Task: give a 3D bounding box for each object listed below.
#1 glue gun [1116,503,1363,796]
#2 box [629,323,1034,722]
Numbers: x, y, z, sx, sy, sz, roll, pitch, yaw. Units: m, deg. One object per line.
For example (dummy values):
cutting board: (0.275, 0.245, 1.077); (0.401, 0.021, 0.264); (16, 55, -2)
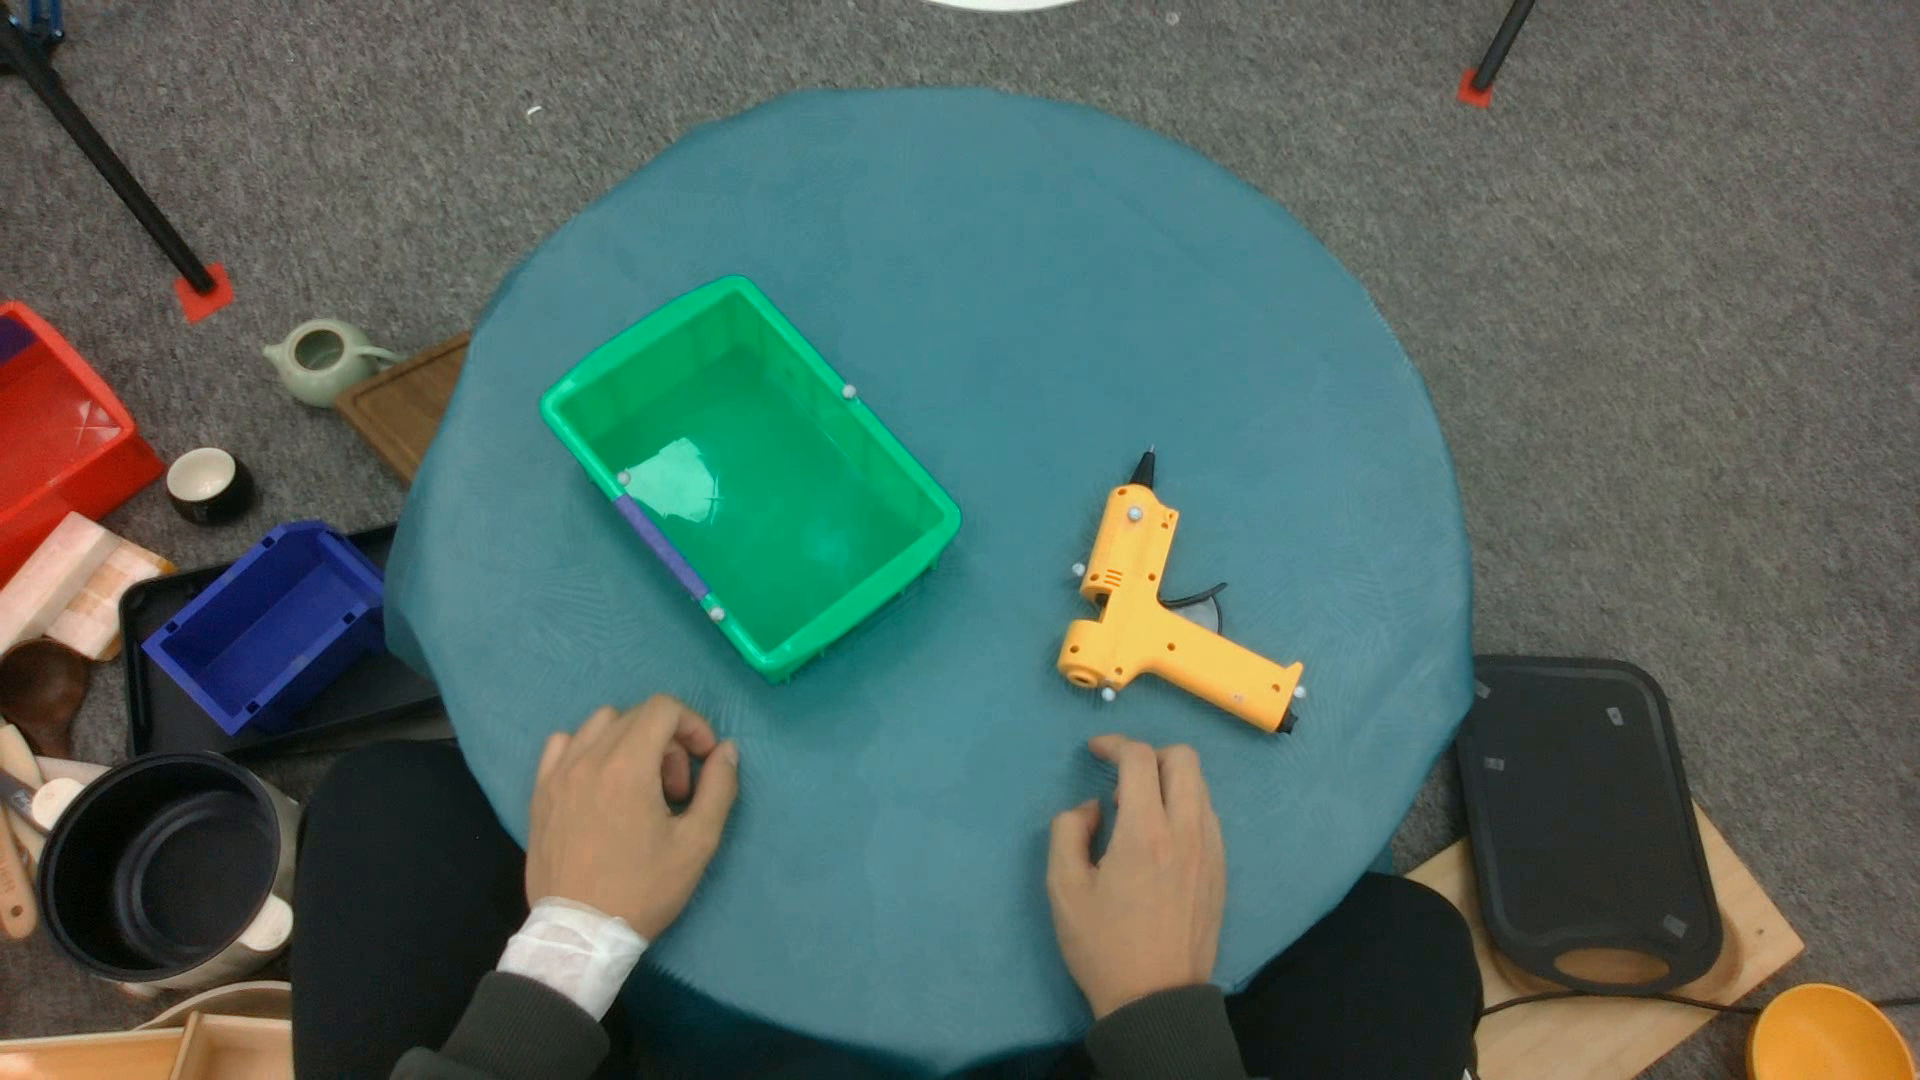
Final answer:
glue gun: (0.169, 0.055, 0.776); (0.133, 0.031, 0.152); (16, 66, 4)
box: (-0.072, -0.007, 0.774); (0.139, 0.065, 0.210); (-37, 74, -15)
